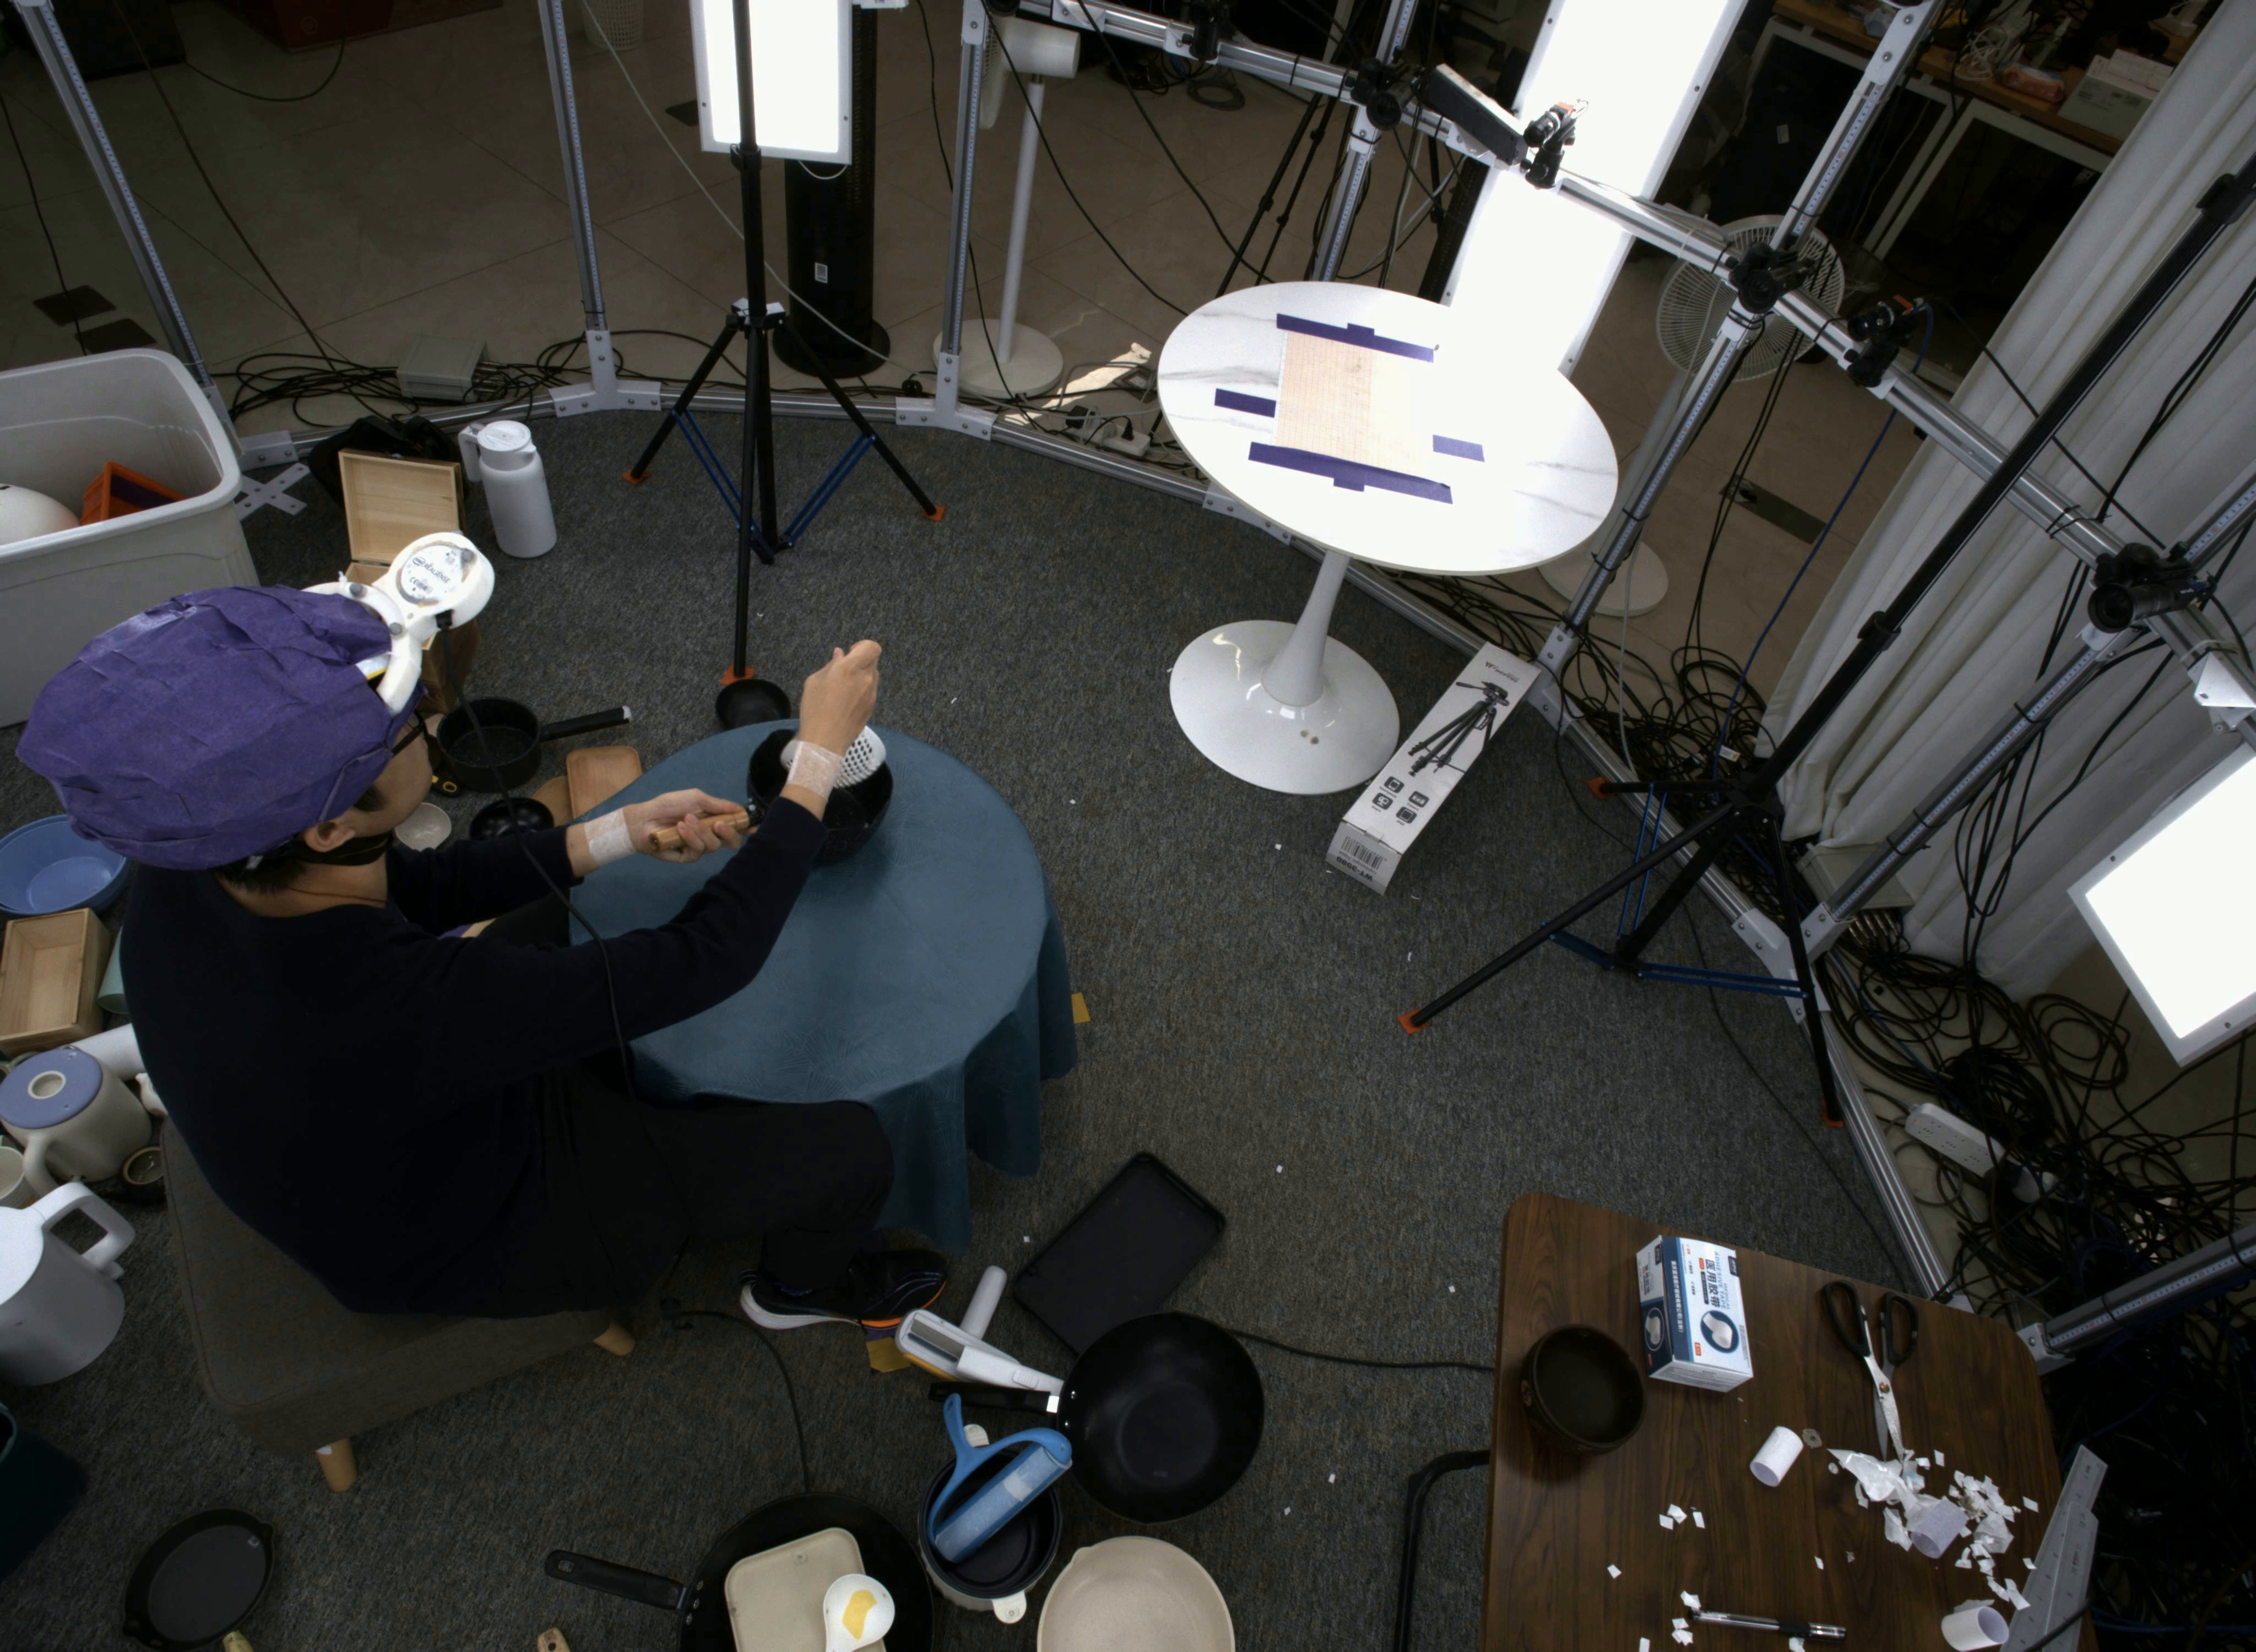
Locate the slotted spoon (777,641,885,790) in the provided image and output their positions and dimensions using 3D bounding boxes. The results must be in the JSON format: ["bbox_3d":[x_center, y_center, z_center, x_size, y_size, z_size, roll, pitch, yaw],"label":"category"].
[{"bbox_3d":[-0.349,-0.131,1.567,0.137,0.352,0.049,-2,60,-19],"label":"slotted spoon"}]

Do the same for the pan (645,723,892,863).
[{"bbox_3d":[-0.452,-0.015,1.617,0.203,0.110,0.344,42,44,17],"label":"pan"}]
